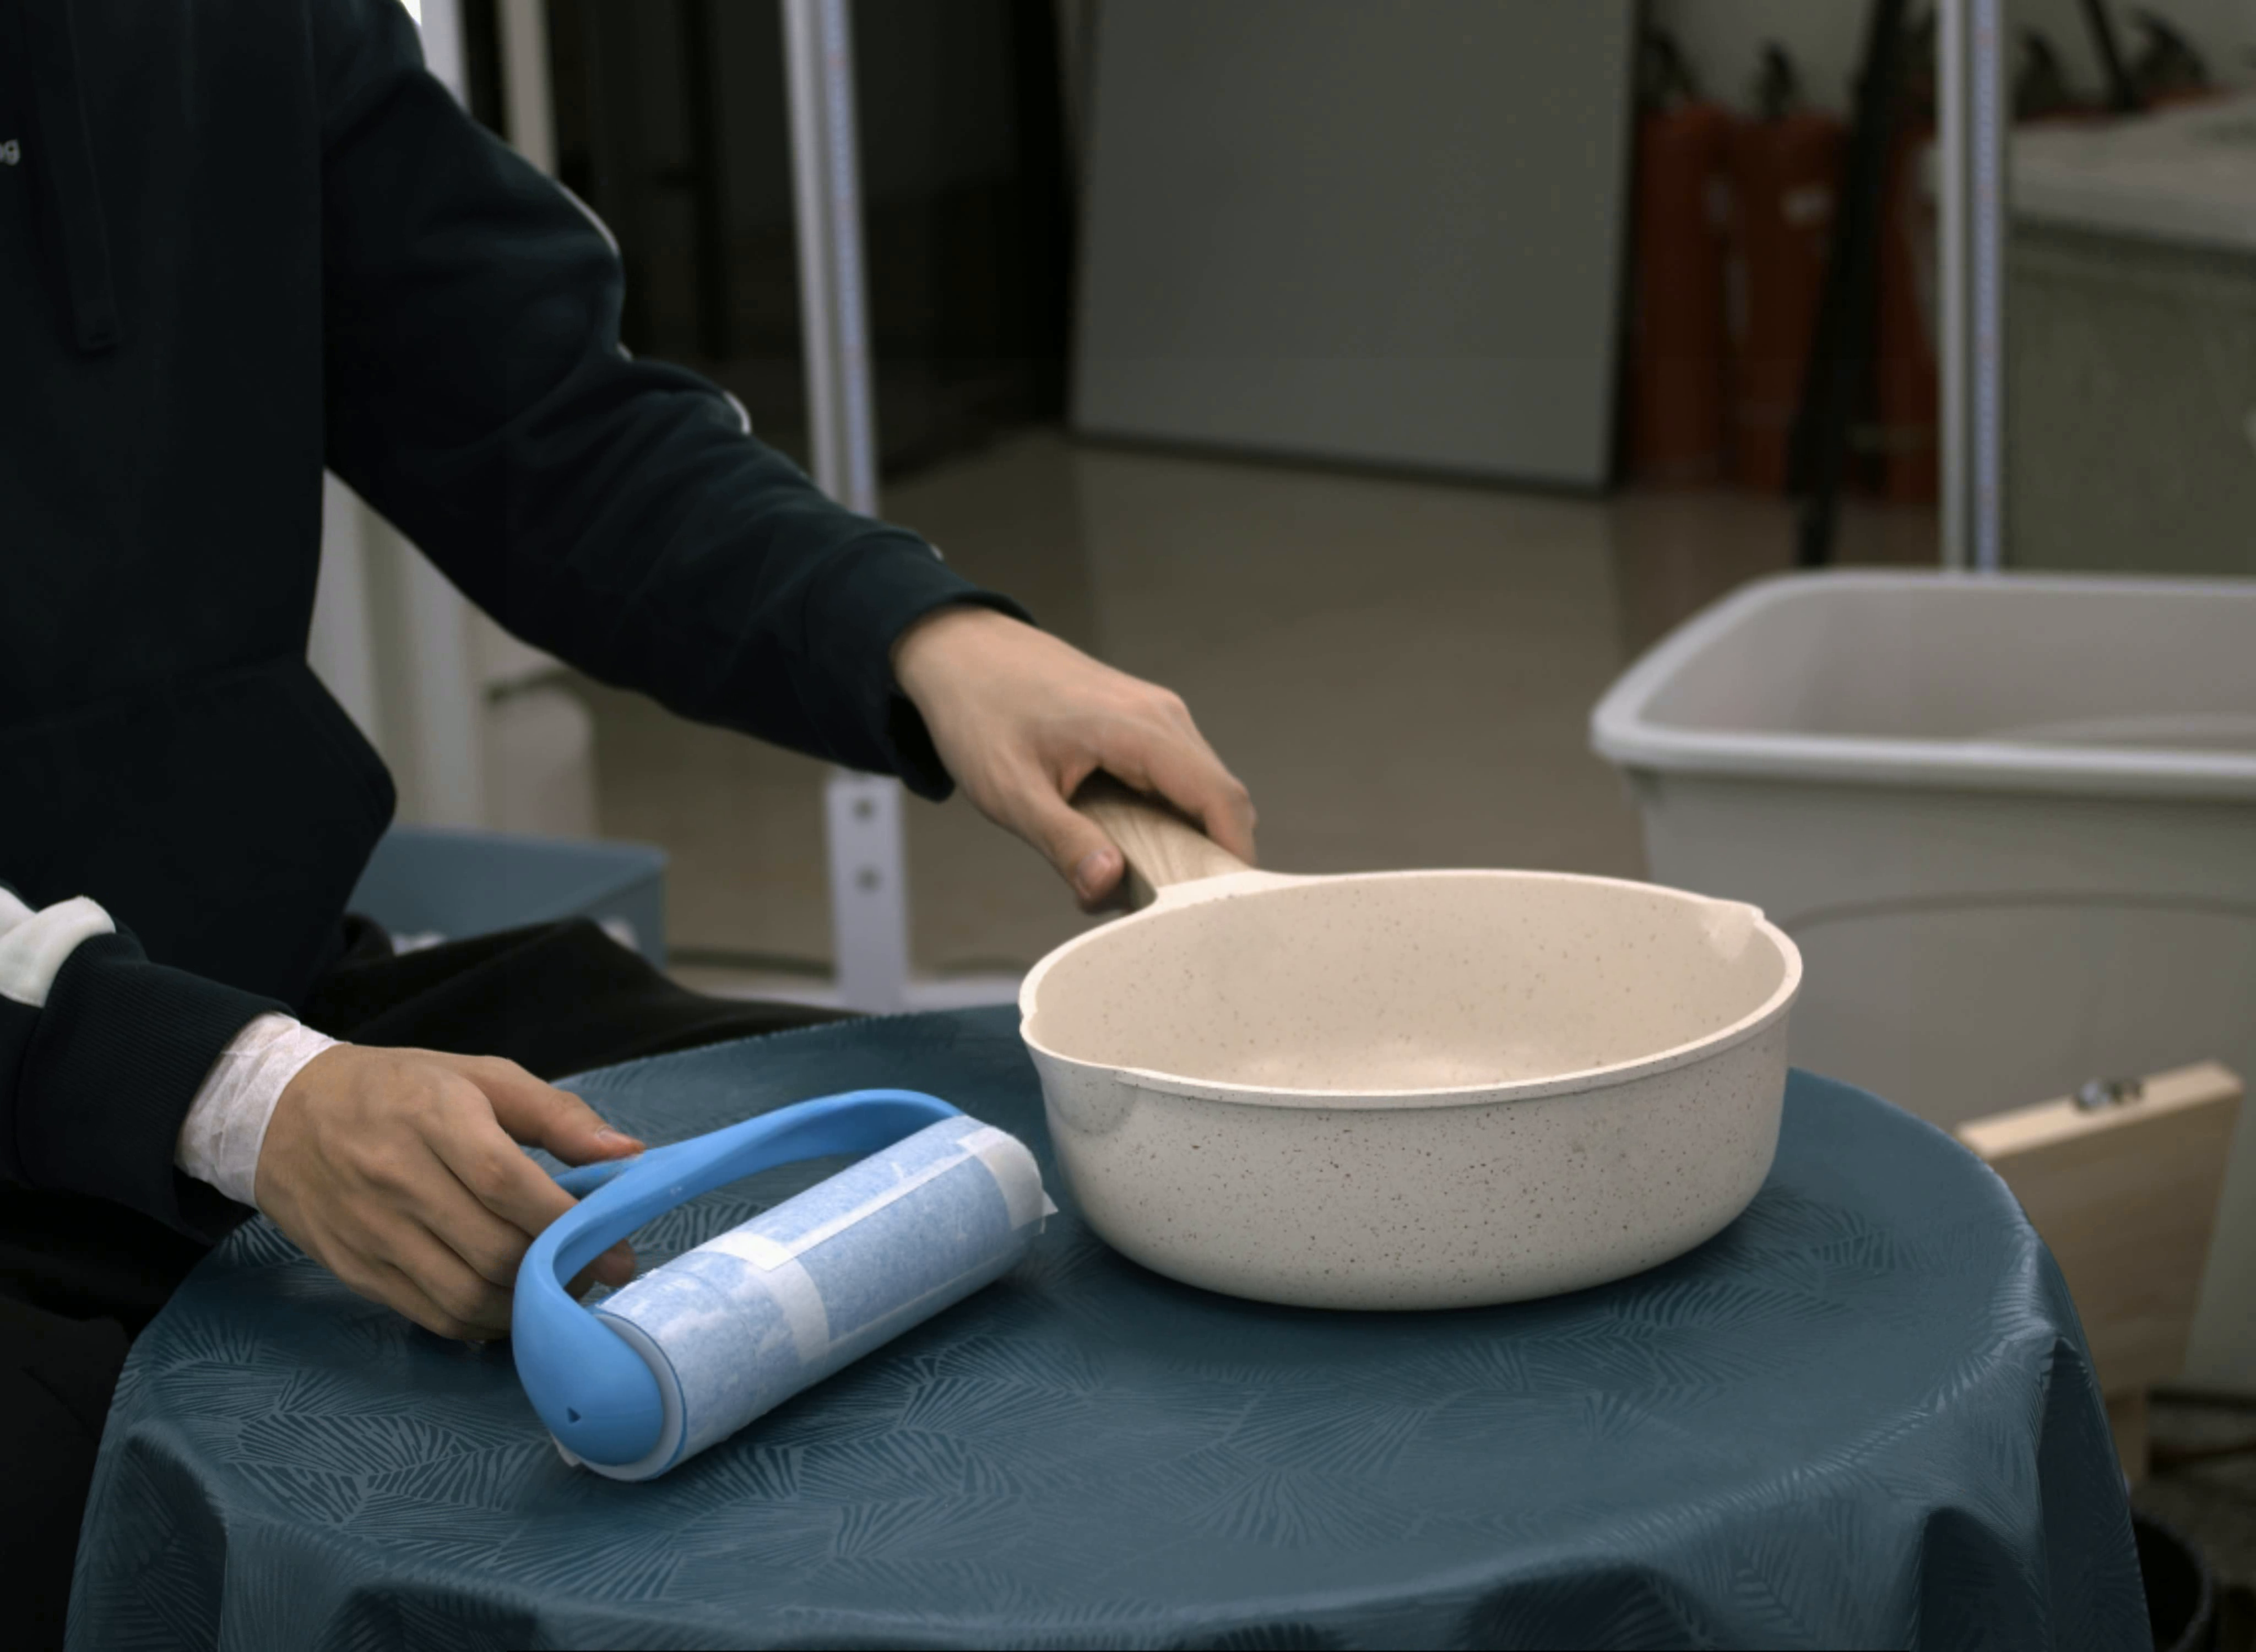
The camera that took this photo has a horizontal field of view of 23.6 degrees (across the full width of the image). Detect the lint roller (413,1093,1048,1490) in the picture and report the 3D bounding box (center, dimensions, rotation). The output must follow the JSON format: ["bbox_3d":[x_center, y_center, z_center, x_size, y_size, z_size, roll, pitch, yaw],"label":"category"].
[{"bbox_3d":[-0.147,0.134,1.643,0.181,0.068,0.225,5,18,29],"label":"lint roller"}]

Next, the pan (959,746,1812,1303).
[{"bbox_3d":[0.053,0.059,1.798,0.258,0.103,0.439,-12,16,-24],"label":"pan"}]
